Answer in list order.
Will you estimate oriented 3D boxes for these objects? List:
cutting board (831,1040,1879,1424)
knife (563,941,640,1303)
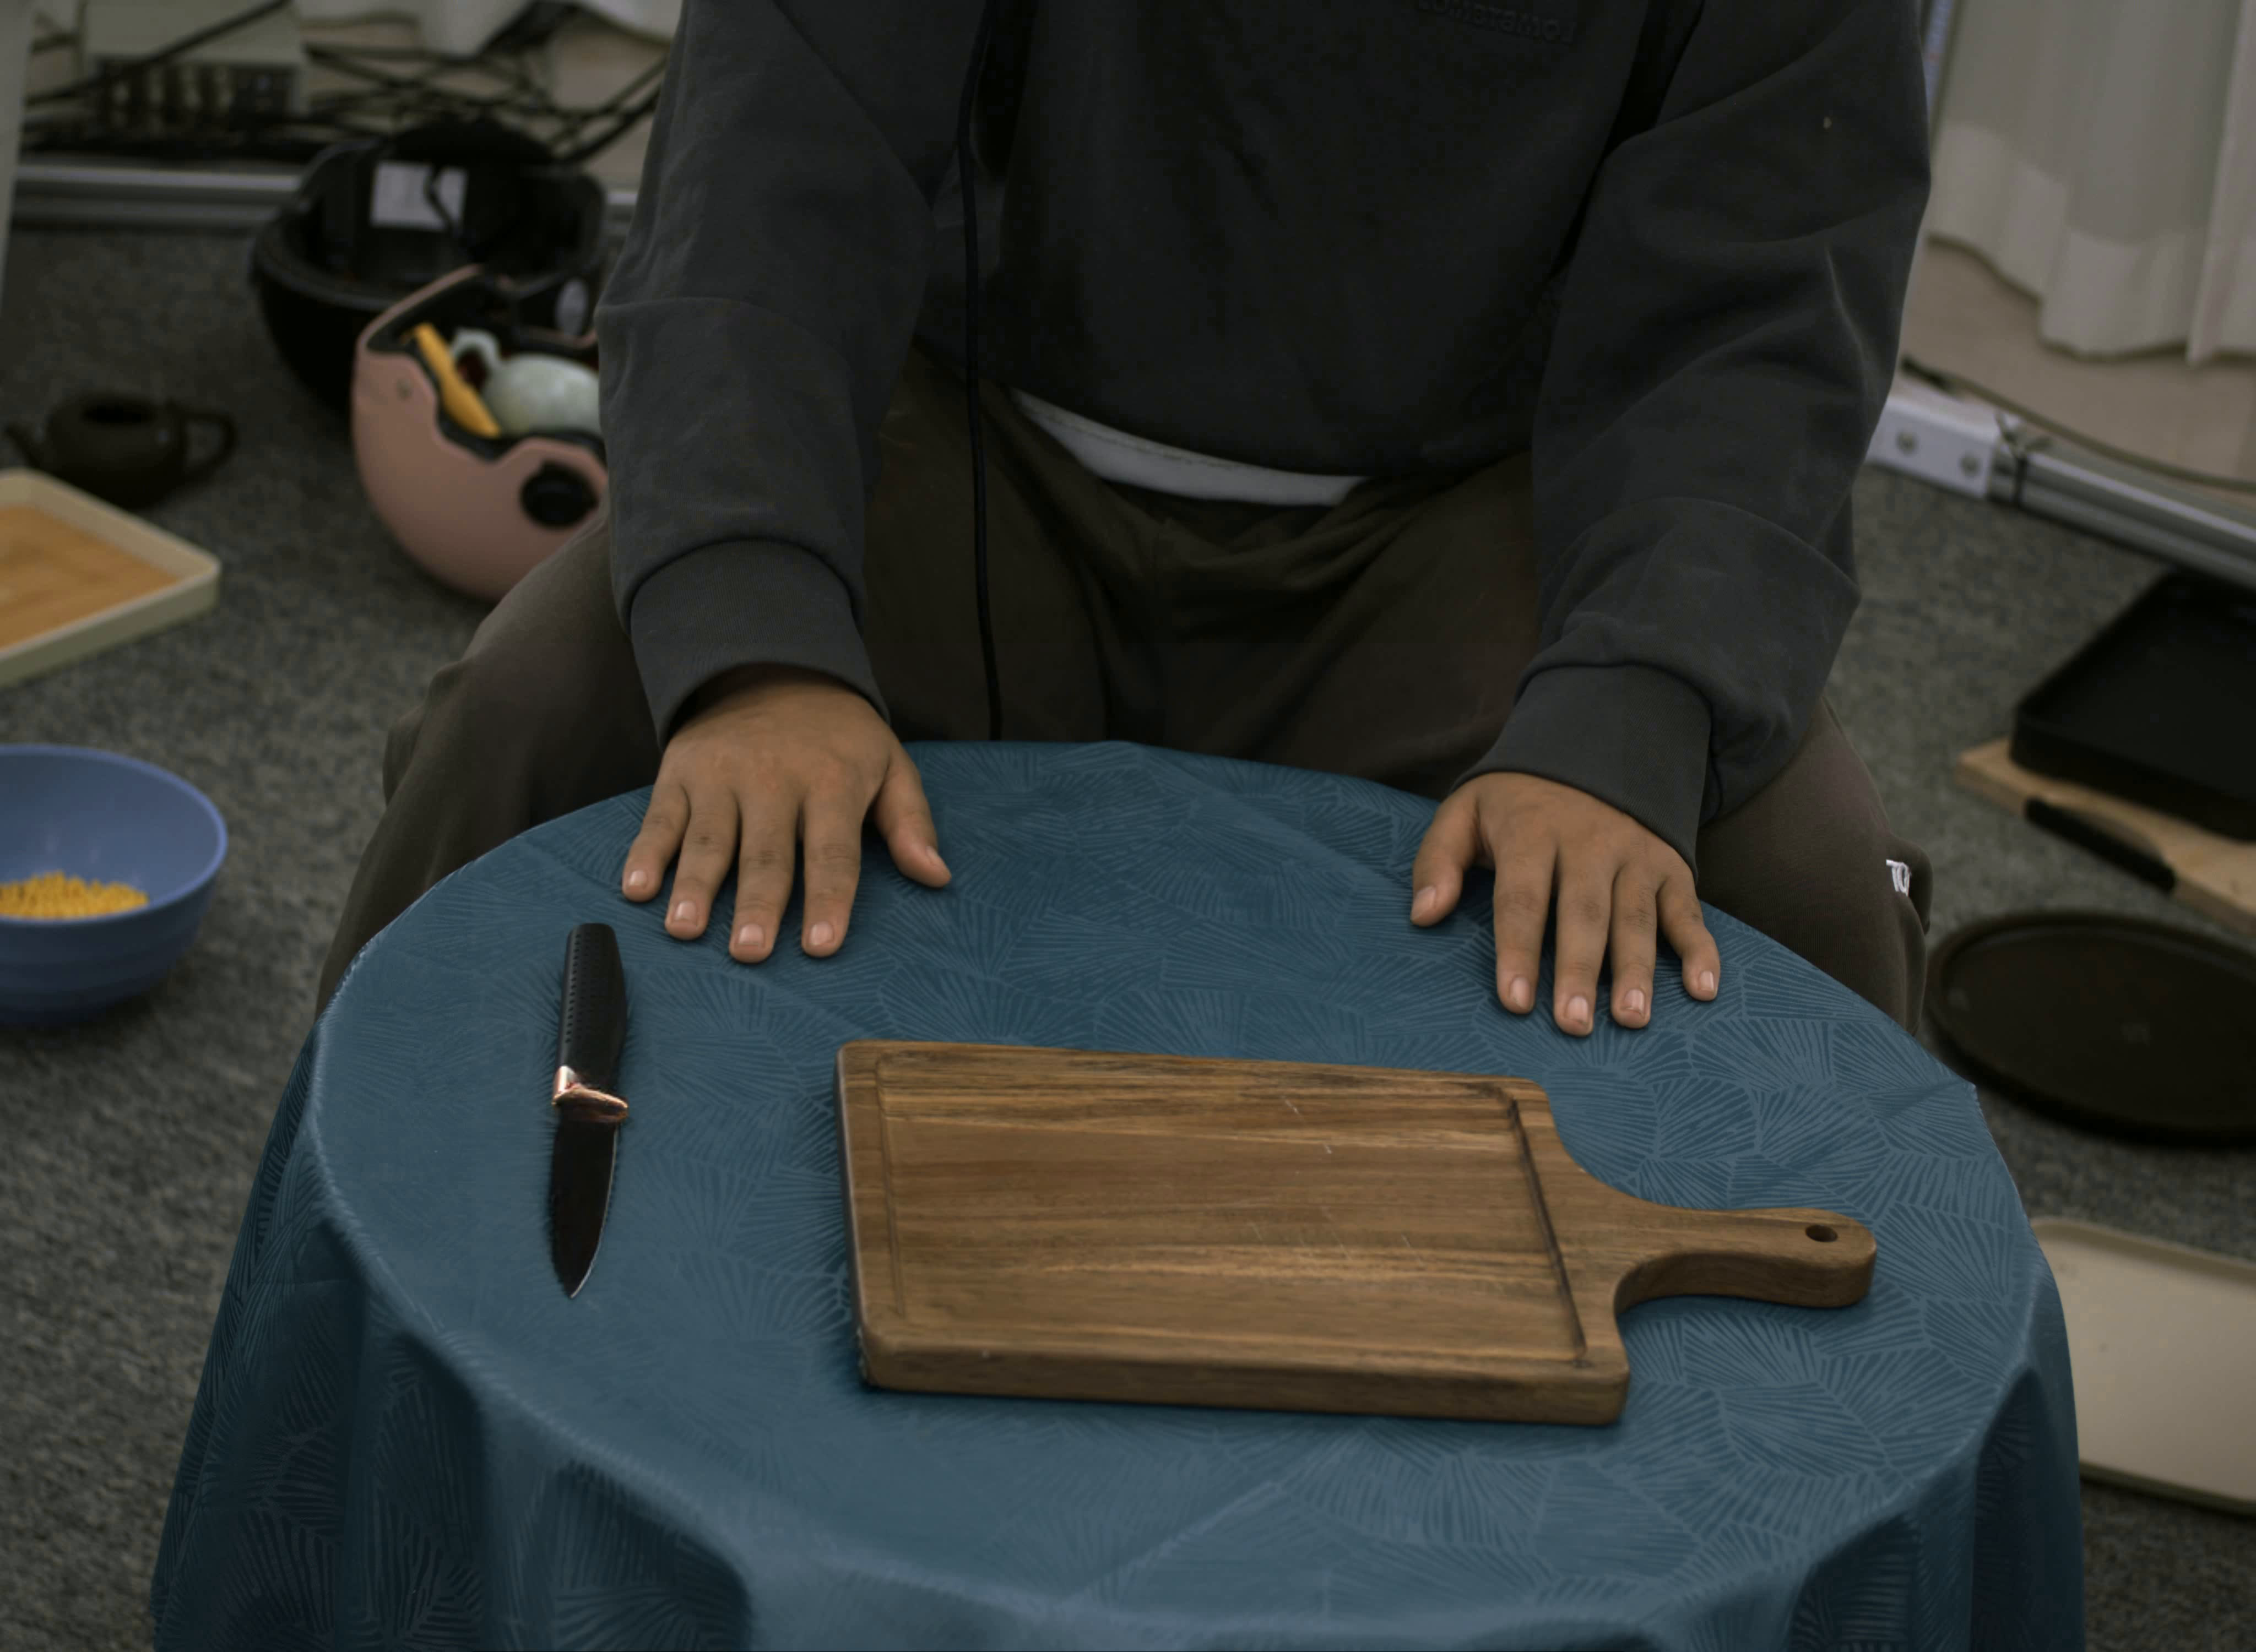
[{"bbox_3d":[0.079,0.136,1.778,0.350,0.023,0.202,3,27,-7],"label":"cutting board"},{"bbox_3d":[-0.179,0.098,1.803,0.026,0.017,0.227,9,27,-8],"label":"knife"}]
